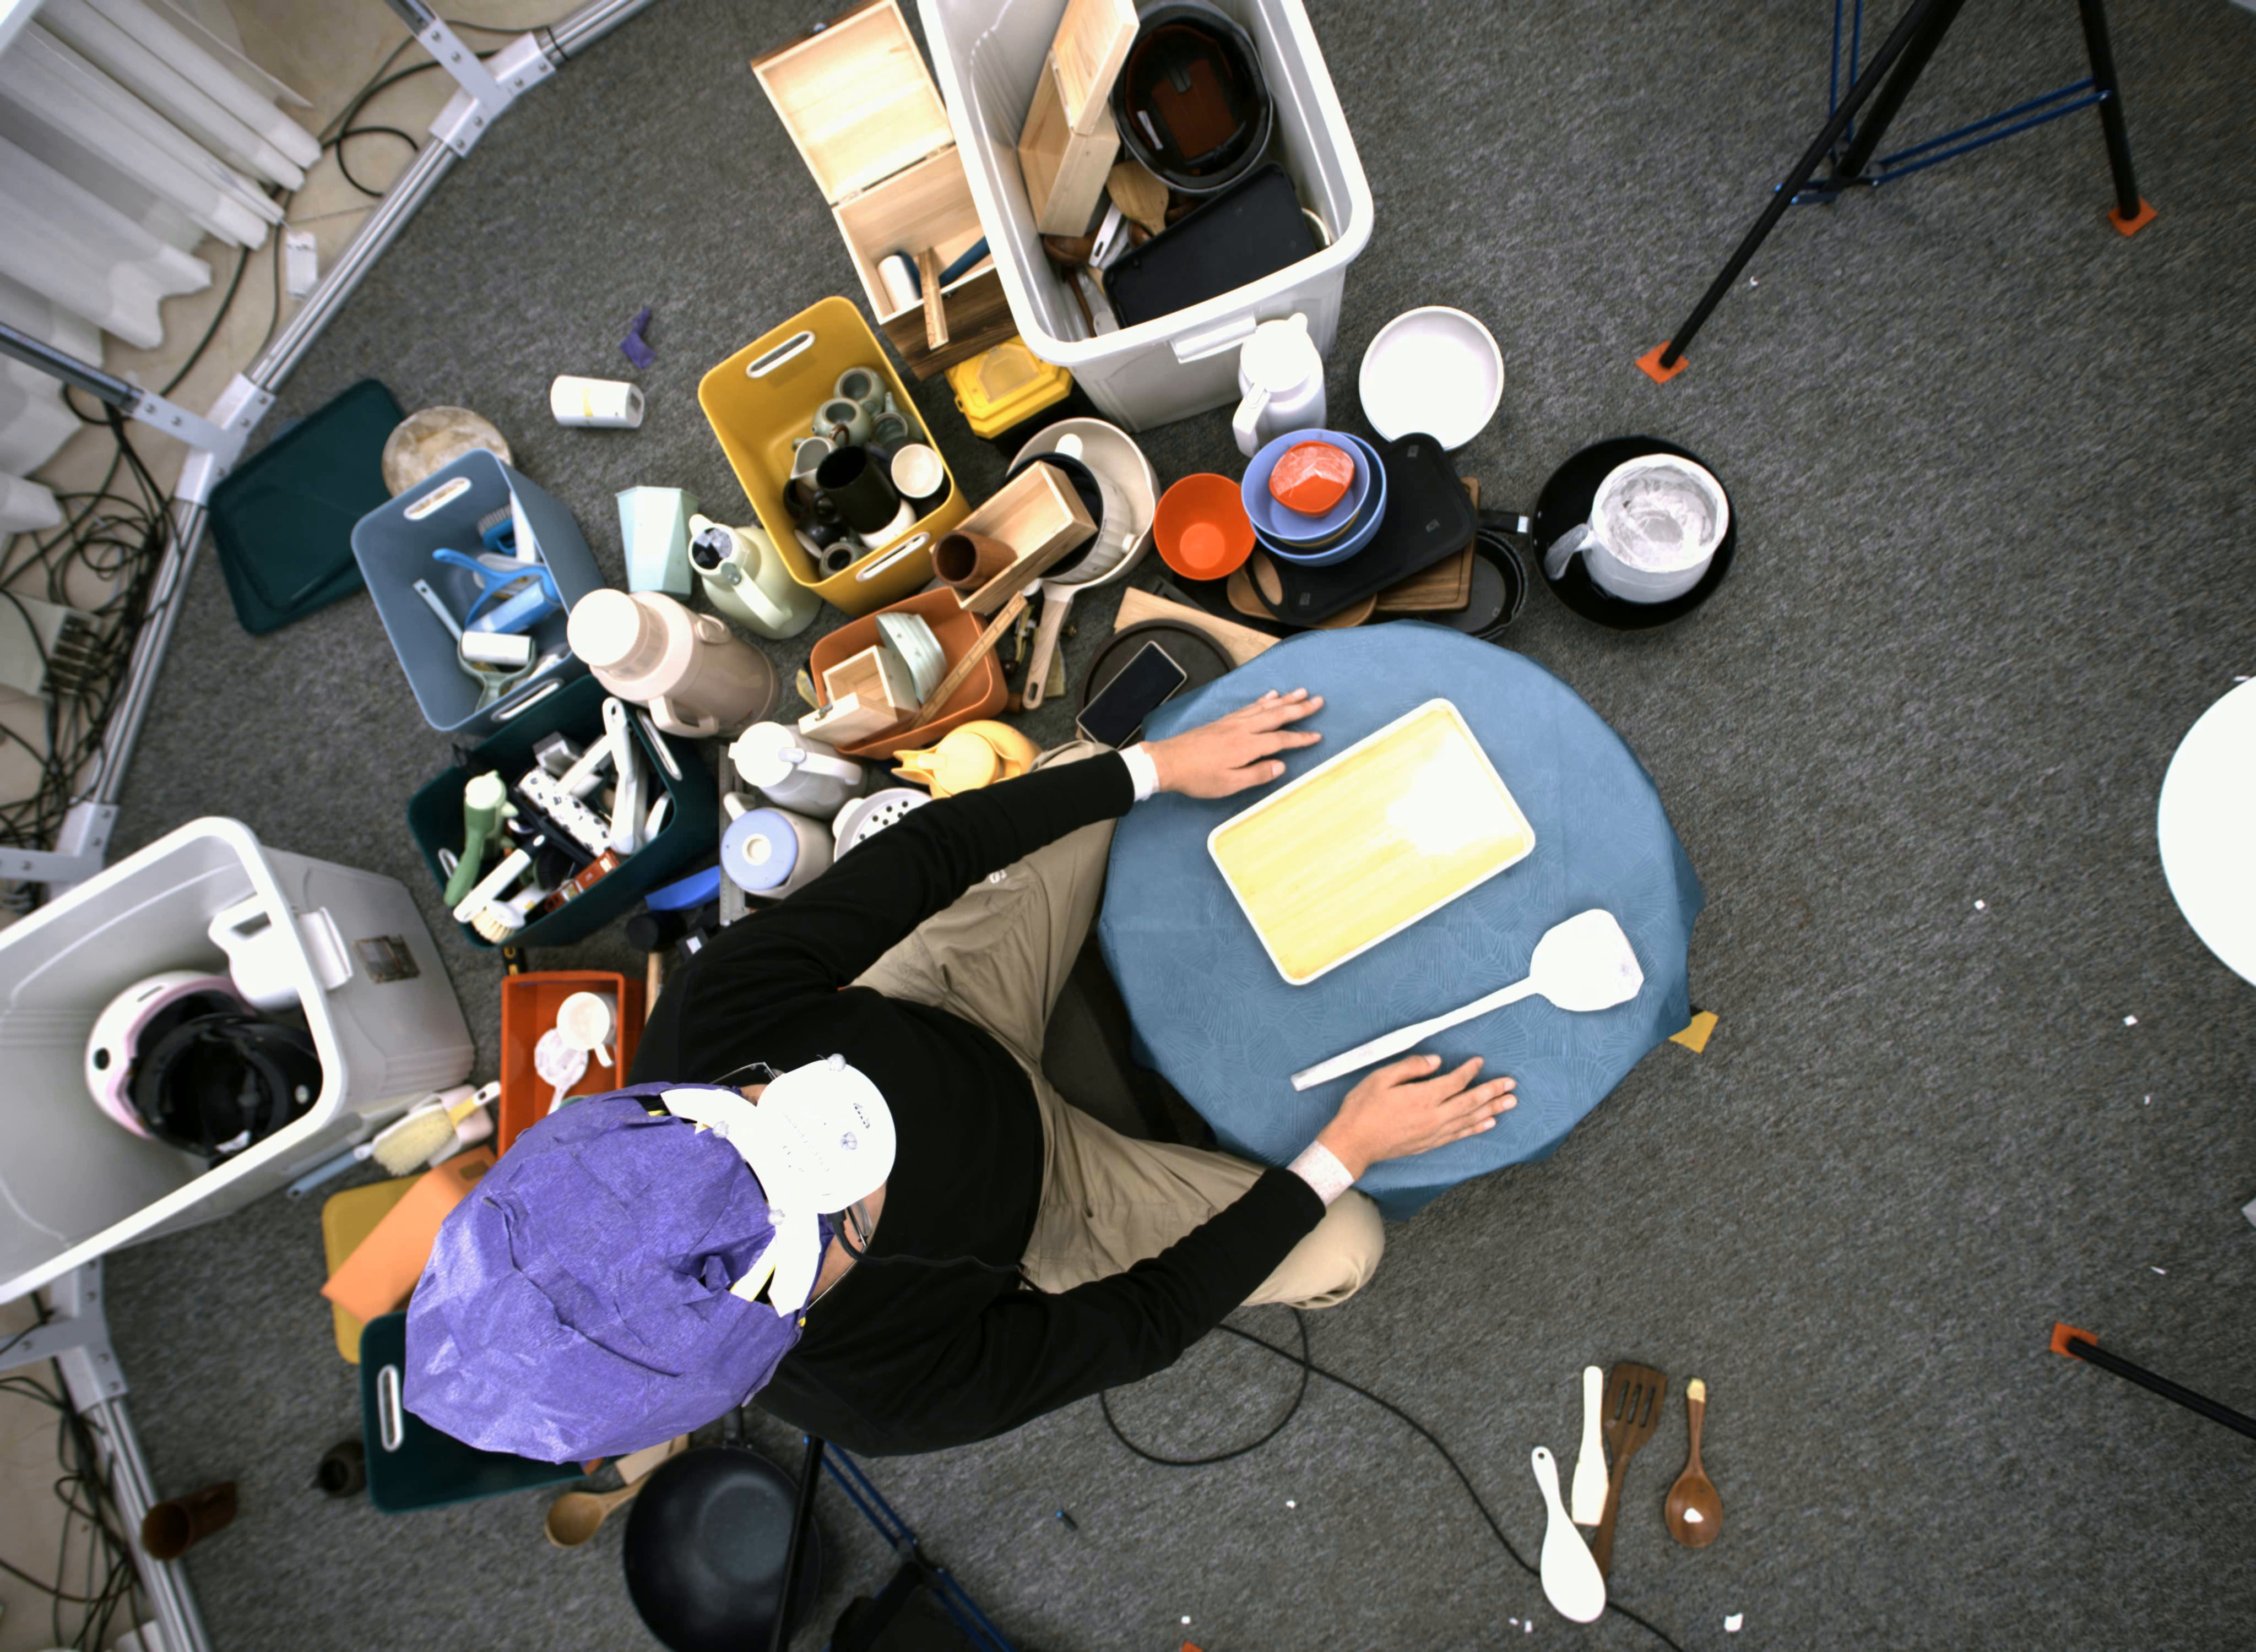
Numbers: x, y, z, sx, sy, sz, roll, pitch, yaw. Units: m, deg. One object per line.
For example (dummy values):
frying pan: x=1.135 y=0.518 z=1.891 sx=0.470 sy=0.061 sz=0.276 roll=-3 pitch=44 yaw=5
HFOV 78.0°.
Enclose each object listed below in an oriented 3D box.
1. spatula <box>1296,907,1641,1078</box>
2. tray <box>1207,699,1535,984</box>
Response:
spatula: x=0.344 y=0.190 z=1.420 sx=0.367 sy=0.045 sz=0.098 roll=-24 pitch=83 yaw=8
tray: x=0.253 y=0.015 z=1.453 sx=0.302 sy=0.027 sz=0.190 roll=-31 pitch=82 yaw=8
